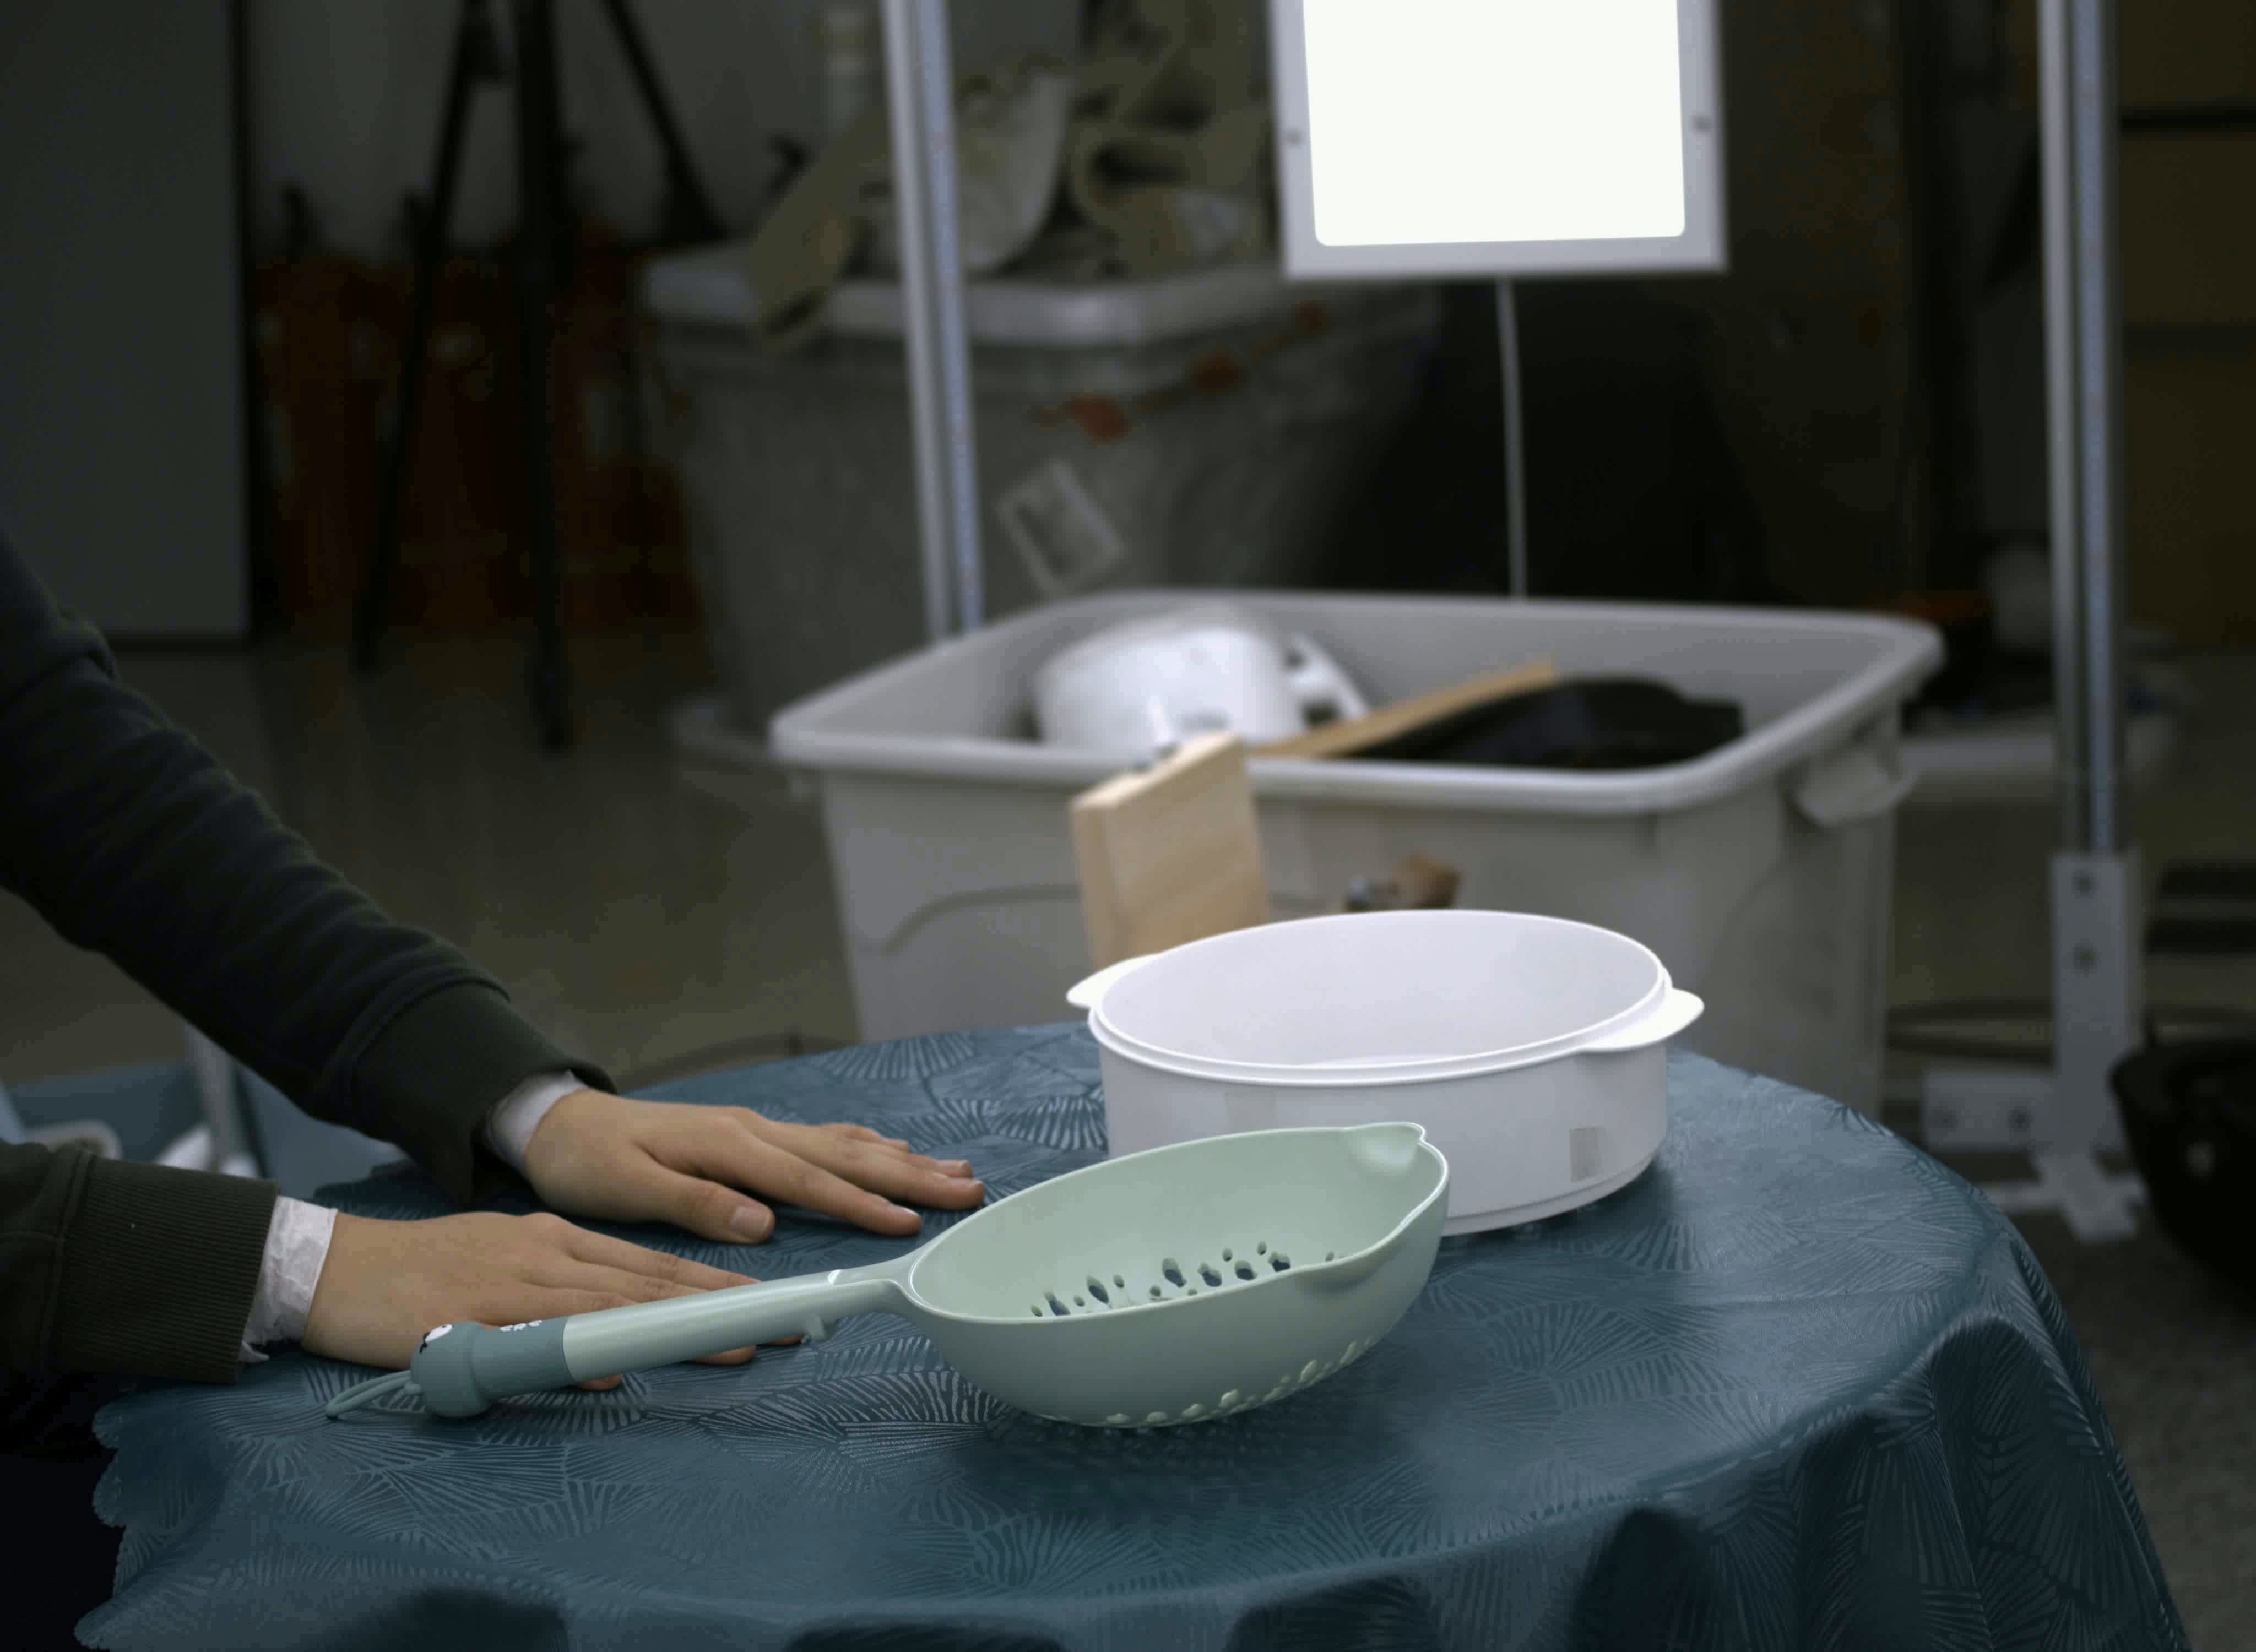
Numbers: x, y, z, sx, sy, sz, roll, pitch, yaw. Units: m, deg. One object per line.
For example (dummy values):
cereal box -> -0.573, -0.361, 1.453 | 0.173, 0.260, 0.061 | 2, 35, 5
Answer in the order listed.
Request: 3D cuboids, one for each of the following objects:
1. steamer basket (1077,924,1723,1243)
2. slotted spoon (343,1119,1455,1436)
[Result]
steamer basket -> 0.093, 0.088, 1.885 | 0.235, 0.069, 0.197 | 3, 15, 30
slotted spoon -> -0.075, 0.149, 1.701 | 0.361, 0.075, 0.167 | -2, 13, 12
